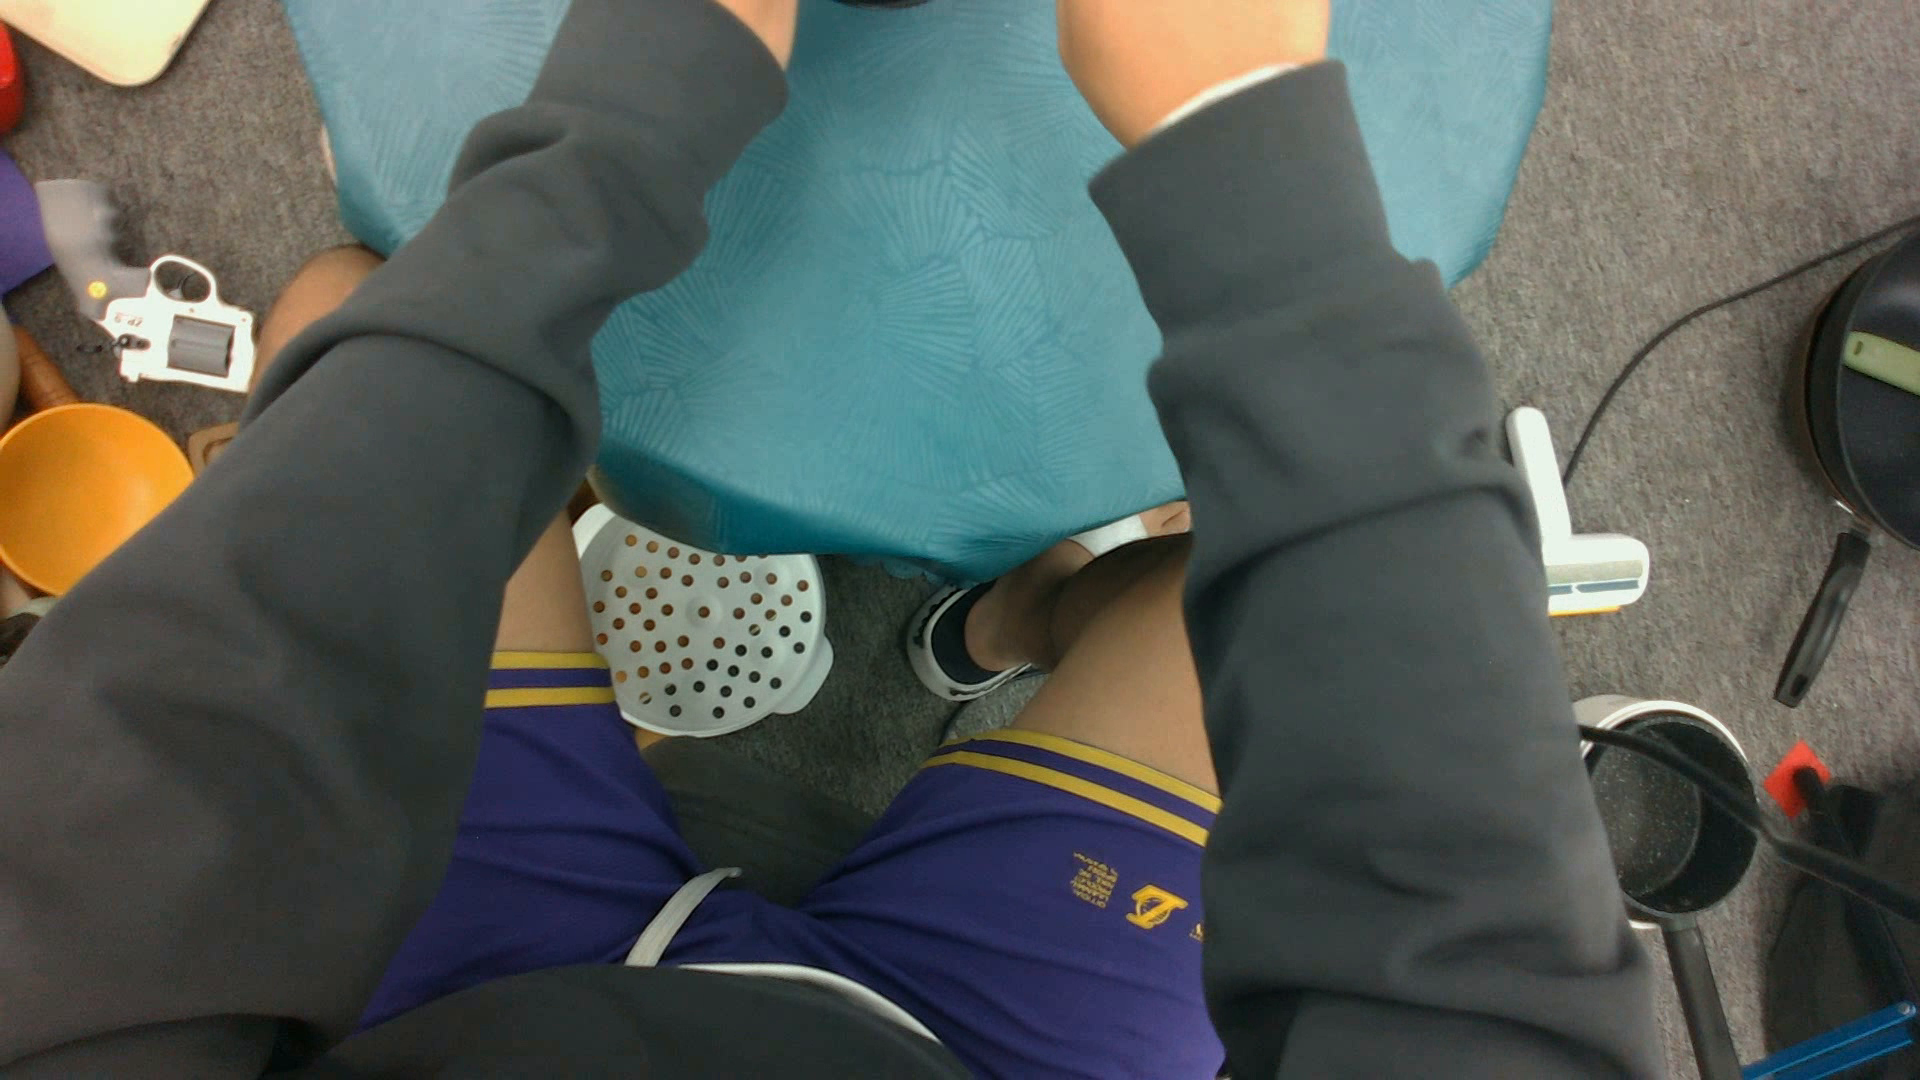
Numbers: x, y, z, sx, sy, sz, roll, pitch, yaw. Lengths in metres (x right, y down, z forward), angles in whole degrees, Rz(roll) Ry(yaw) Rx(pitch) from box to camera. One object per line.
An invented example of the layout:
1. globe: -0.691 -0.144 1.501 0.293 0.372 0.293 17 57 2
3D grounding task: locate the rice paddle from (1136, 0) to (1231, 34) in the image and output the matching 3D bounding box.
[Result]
1. rice paddle: 0.018 -0.242 0.496 0.029 0.205 0.068 -12 138 -45

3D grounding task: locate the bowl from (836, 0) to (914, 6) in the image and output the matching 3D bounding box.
1. bowl: -0.043 -0.288 0.547 0.140 0.050 0.139 -12 117 -25
